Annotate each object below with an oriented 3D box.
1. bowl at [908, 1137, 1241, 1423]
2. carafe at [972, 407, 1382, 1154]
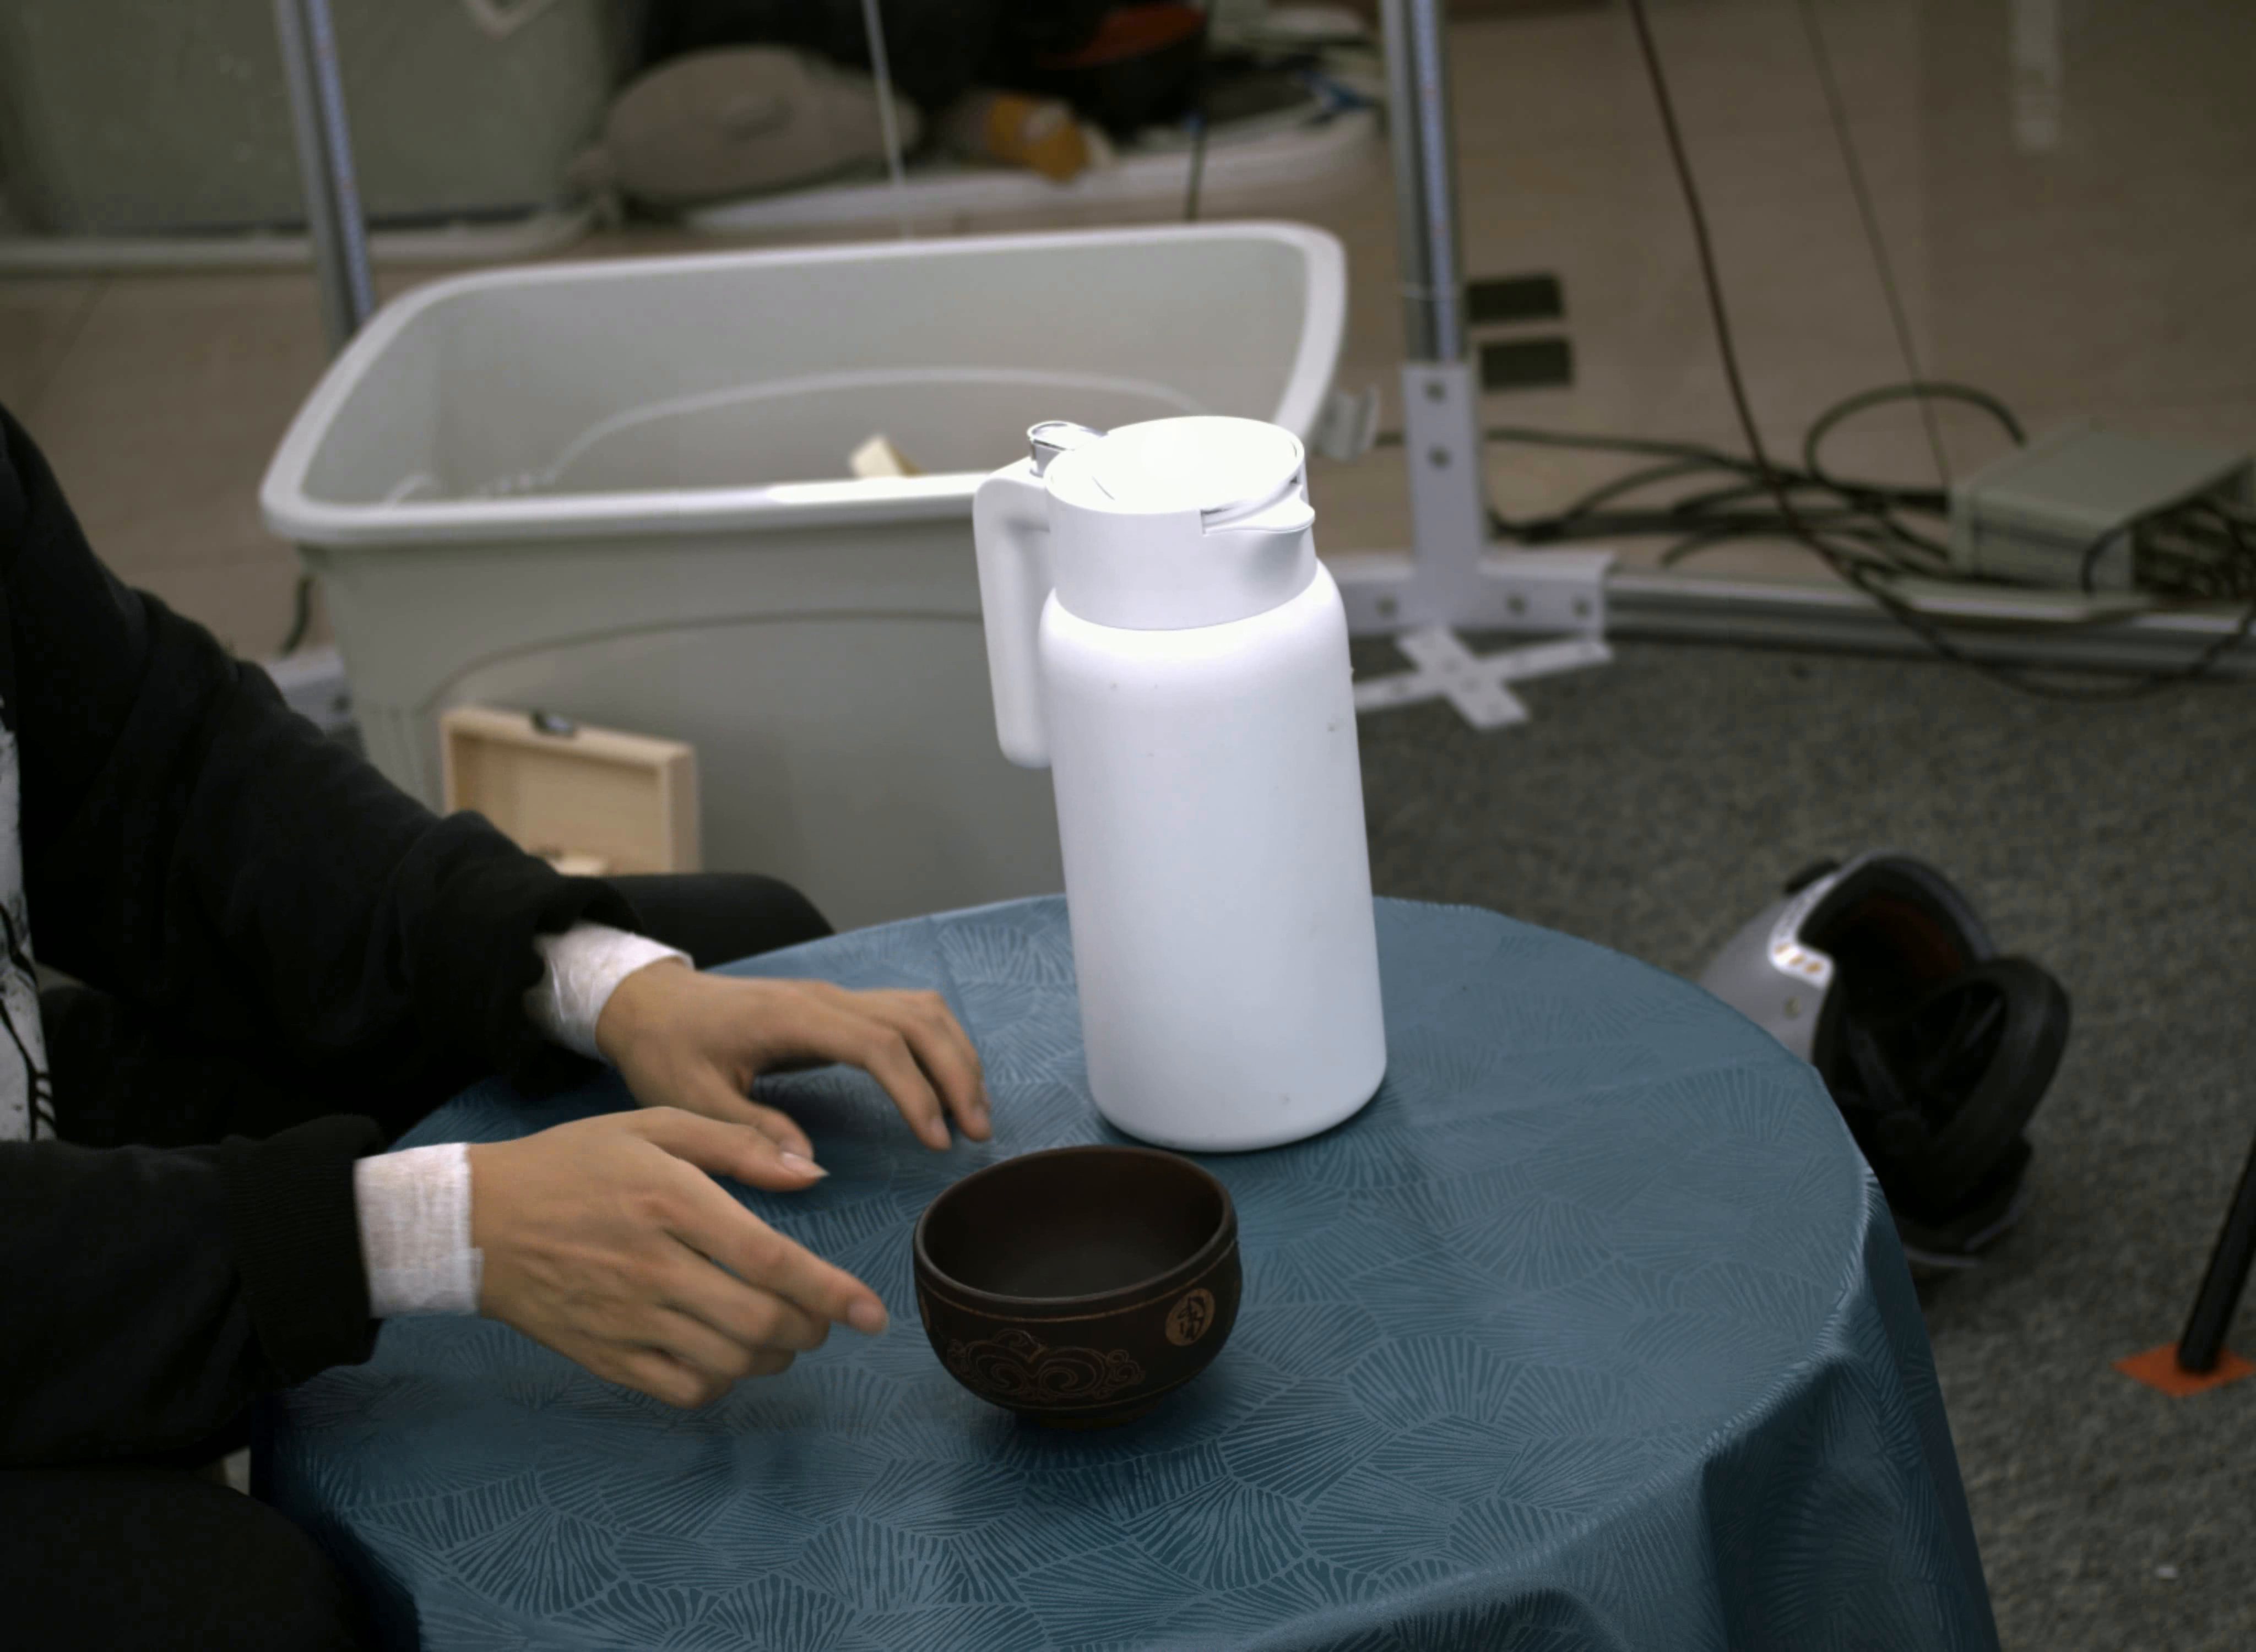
[{"bbox_3d":[-0.018,0.167,2.005,0.118,0.071,0.116,-4,26,2],"label":"bowl"},{"bbox_3d":[0.017,-0.019,2.165,0.171,0.273,0.122,19,37,41],"label":"carafe"}]
